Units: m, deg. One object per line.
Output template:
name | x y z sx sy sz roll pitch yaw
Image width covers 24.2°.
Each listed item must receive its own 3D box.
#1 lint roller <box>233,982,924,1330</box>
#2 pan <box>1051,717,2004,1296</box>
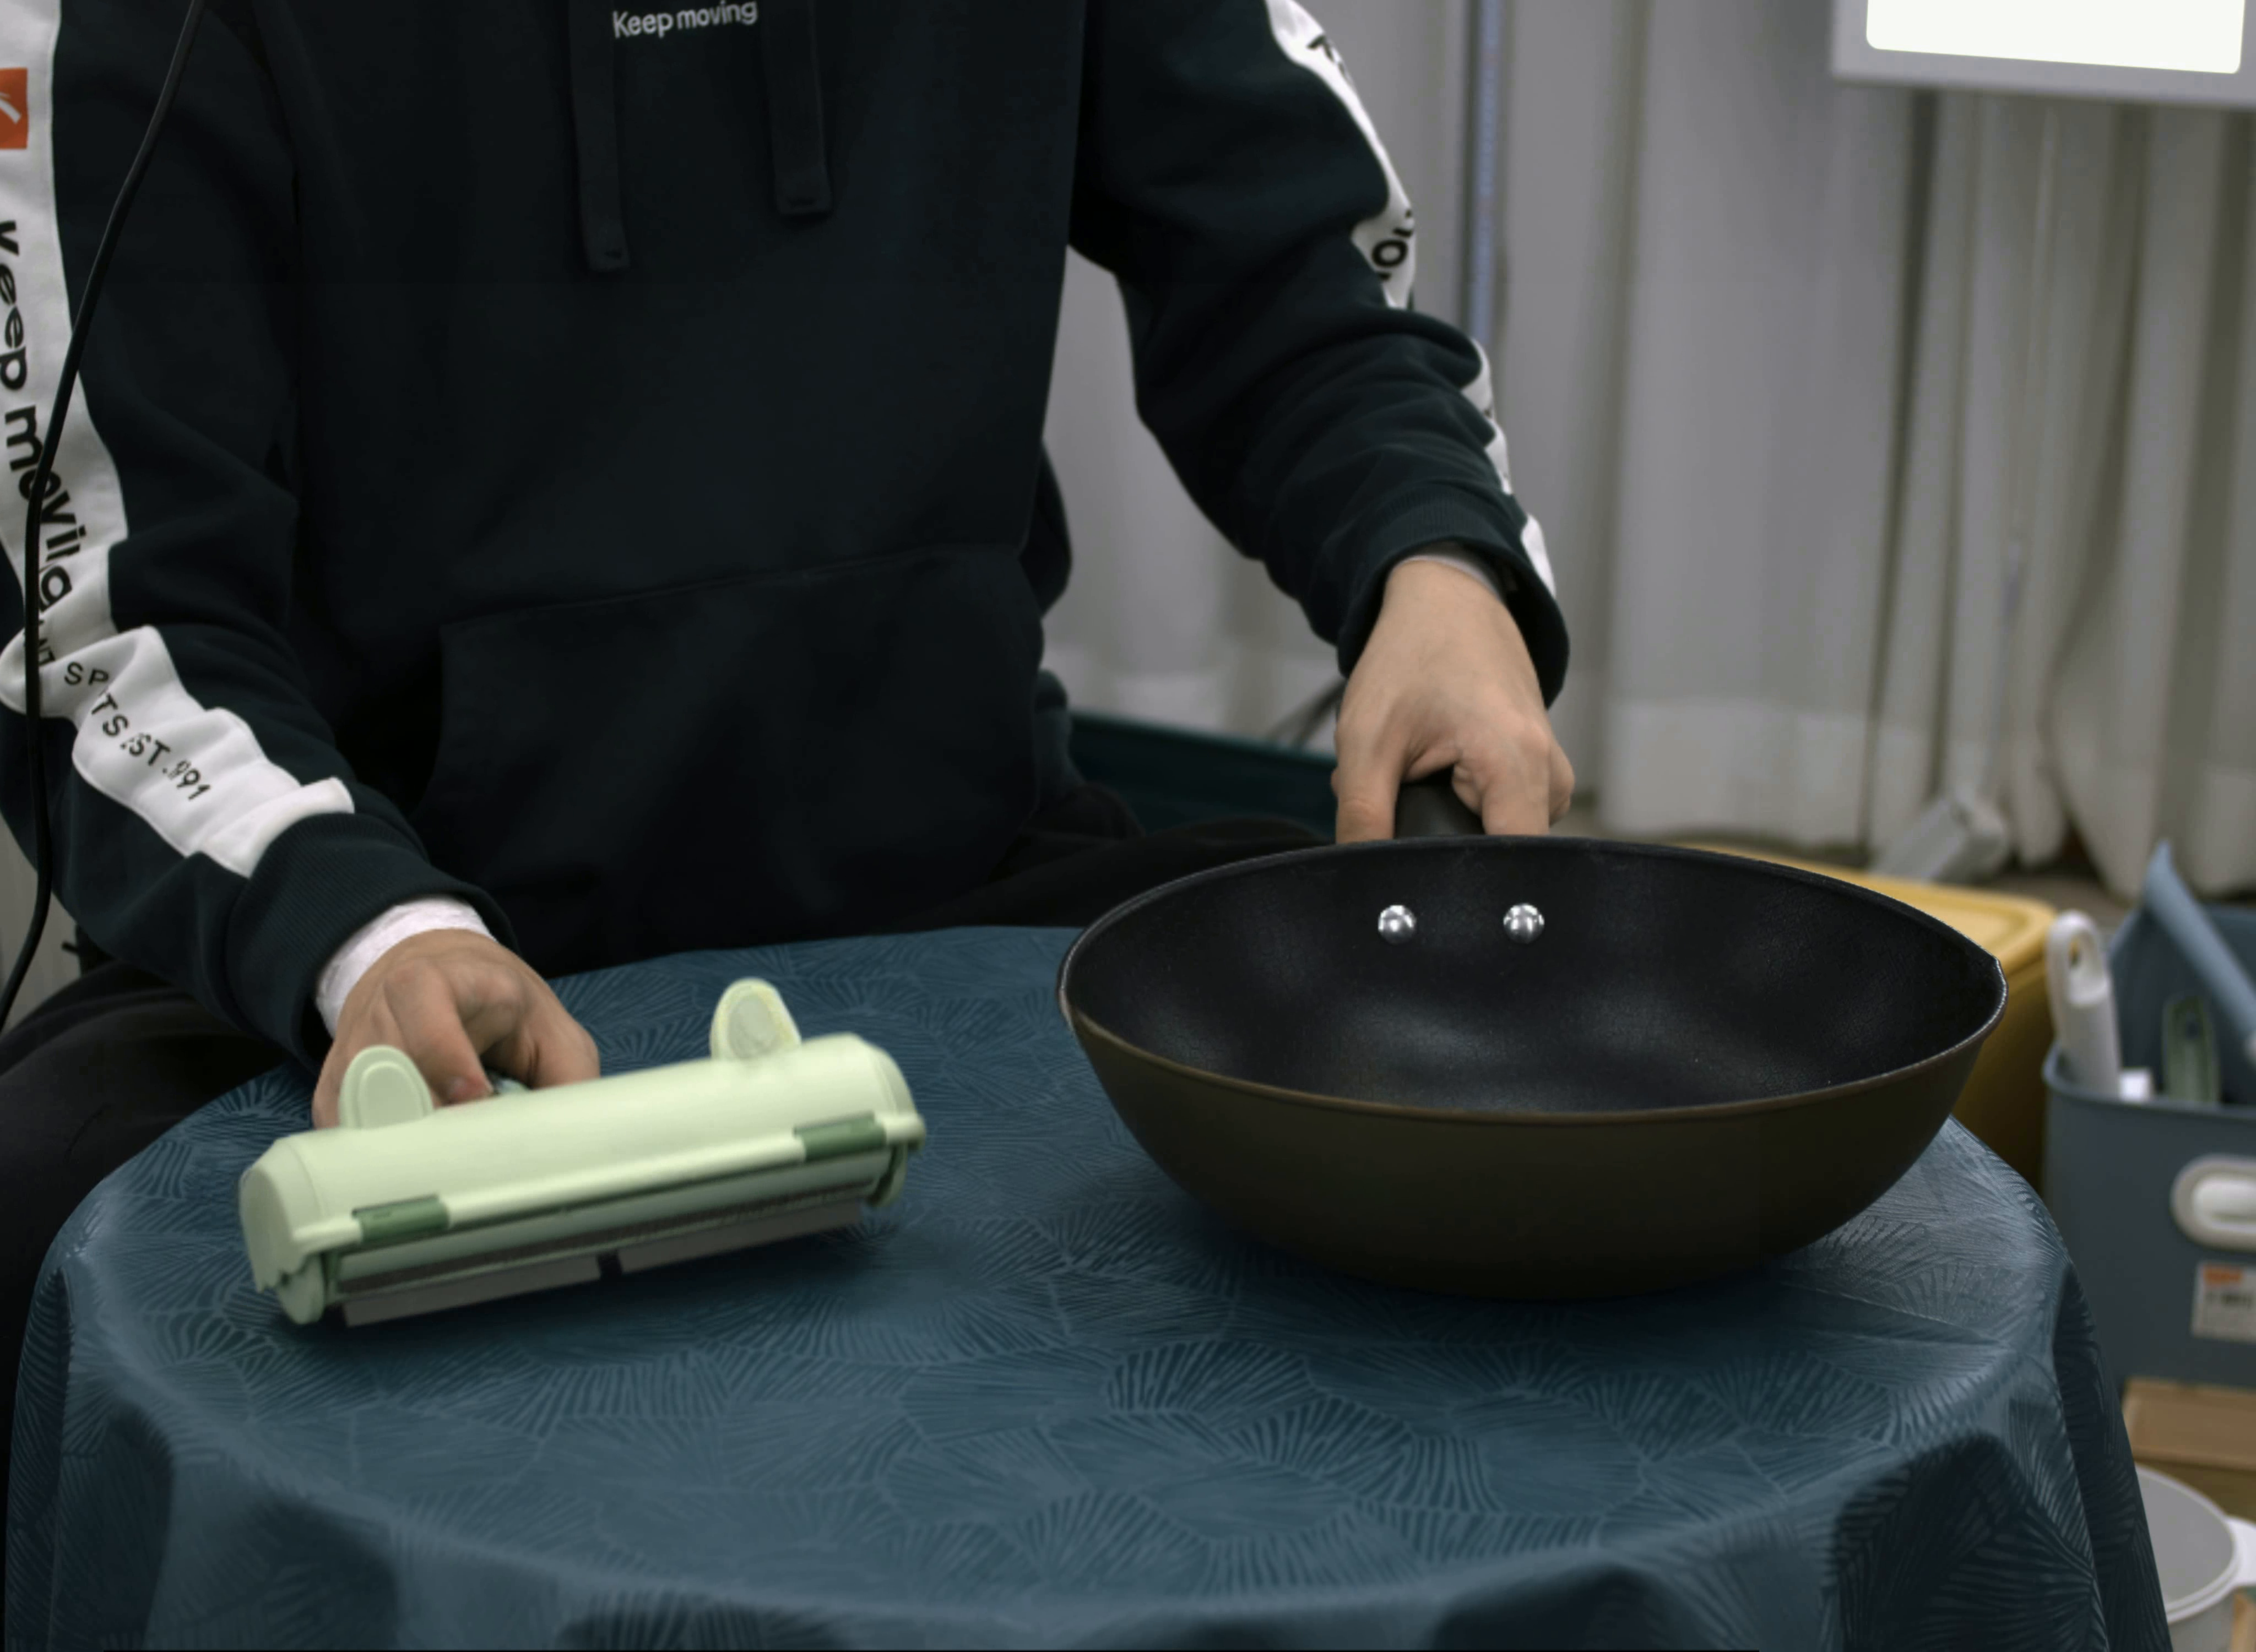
lint roller | -0.183 0.081 1.571 0.199 0.083 0.181 -9 21 -25
pan | 0.108 0.055 1.672 0.288 0.087 0.460 -1 15 -7
